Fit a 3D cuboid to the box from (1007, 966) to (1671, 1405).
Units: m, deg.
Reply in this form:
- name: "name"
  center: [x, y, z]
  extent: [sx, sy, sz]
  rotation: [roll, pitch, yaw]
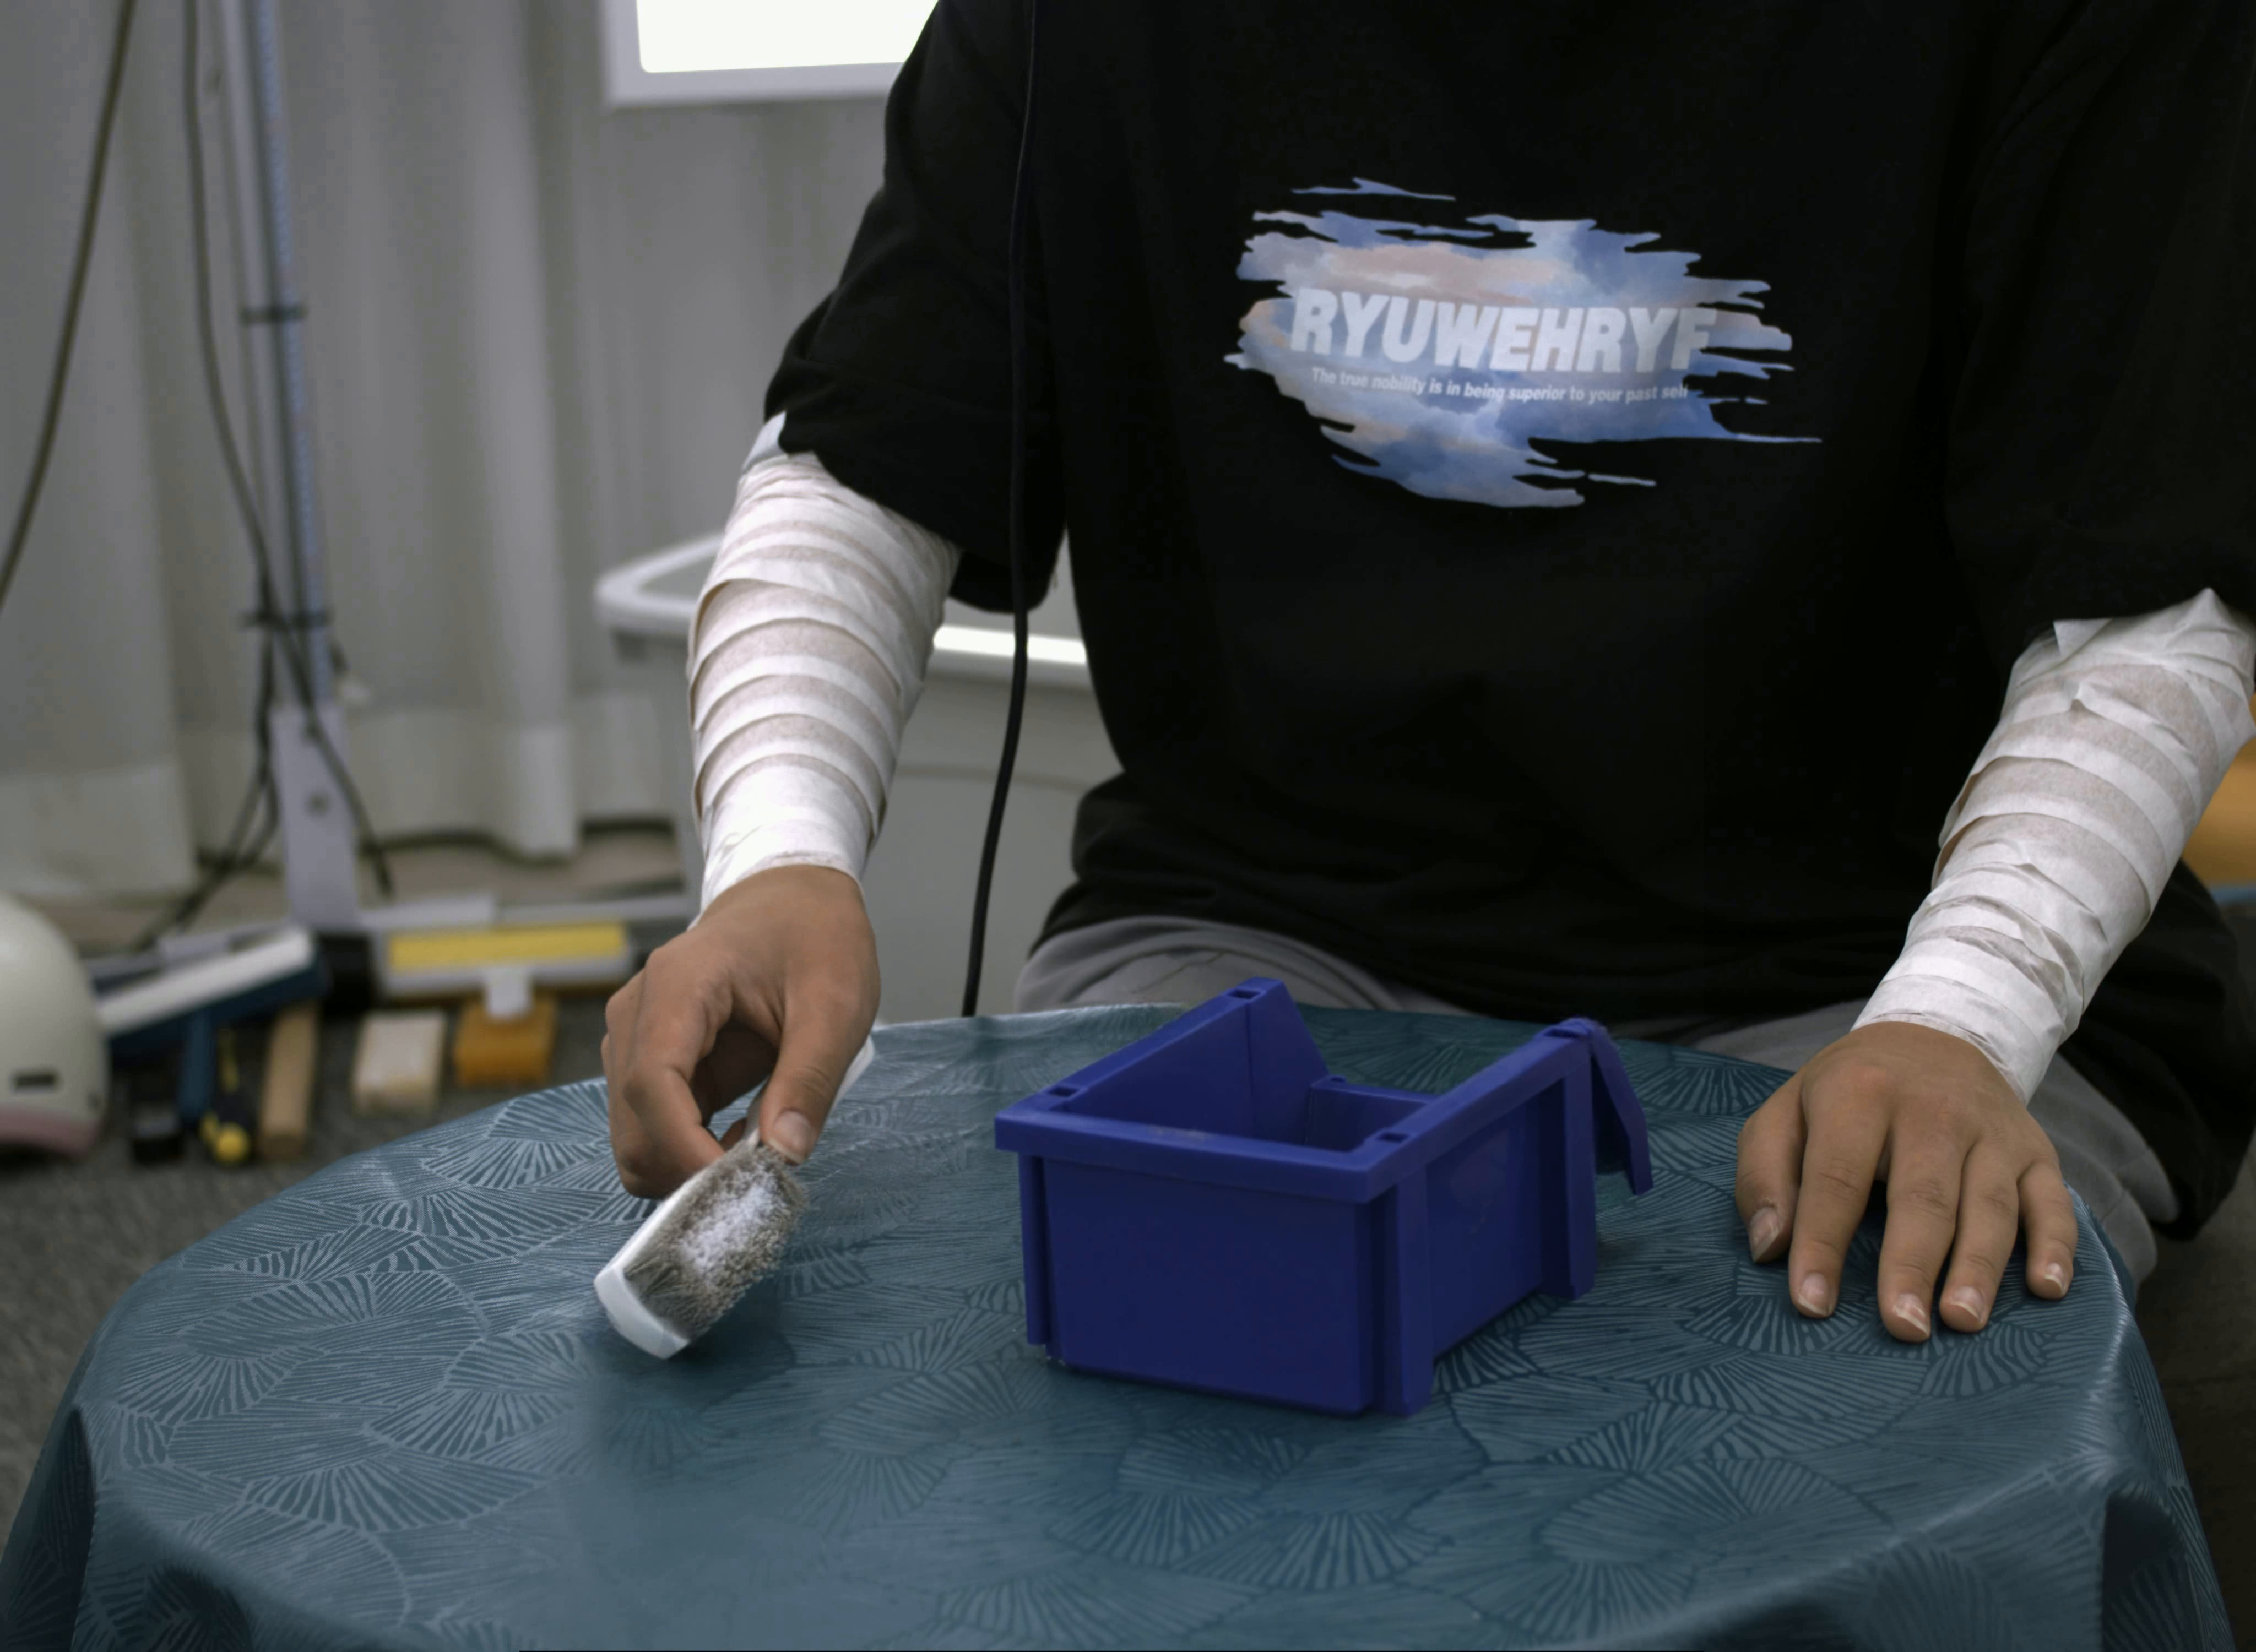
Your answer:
- name: "box"
  center: [0.063, 0.100, 1.597]
  extent: [0.125, 0.081, 0.179]
  rotation: [6, 18, 32]

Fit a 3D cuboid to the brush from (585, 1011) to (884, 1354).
- name: "brush"
  center: [-0.104, 0.094, 1.672]
  extent: [0.050, 0.034, 0.245]
  rotation: [-43, 3, 24]
